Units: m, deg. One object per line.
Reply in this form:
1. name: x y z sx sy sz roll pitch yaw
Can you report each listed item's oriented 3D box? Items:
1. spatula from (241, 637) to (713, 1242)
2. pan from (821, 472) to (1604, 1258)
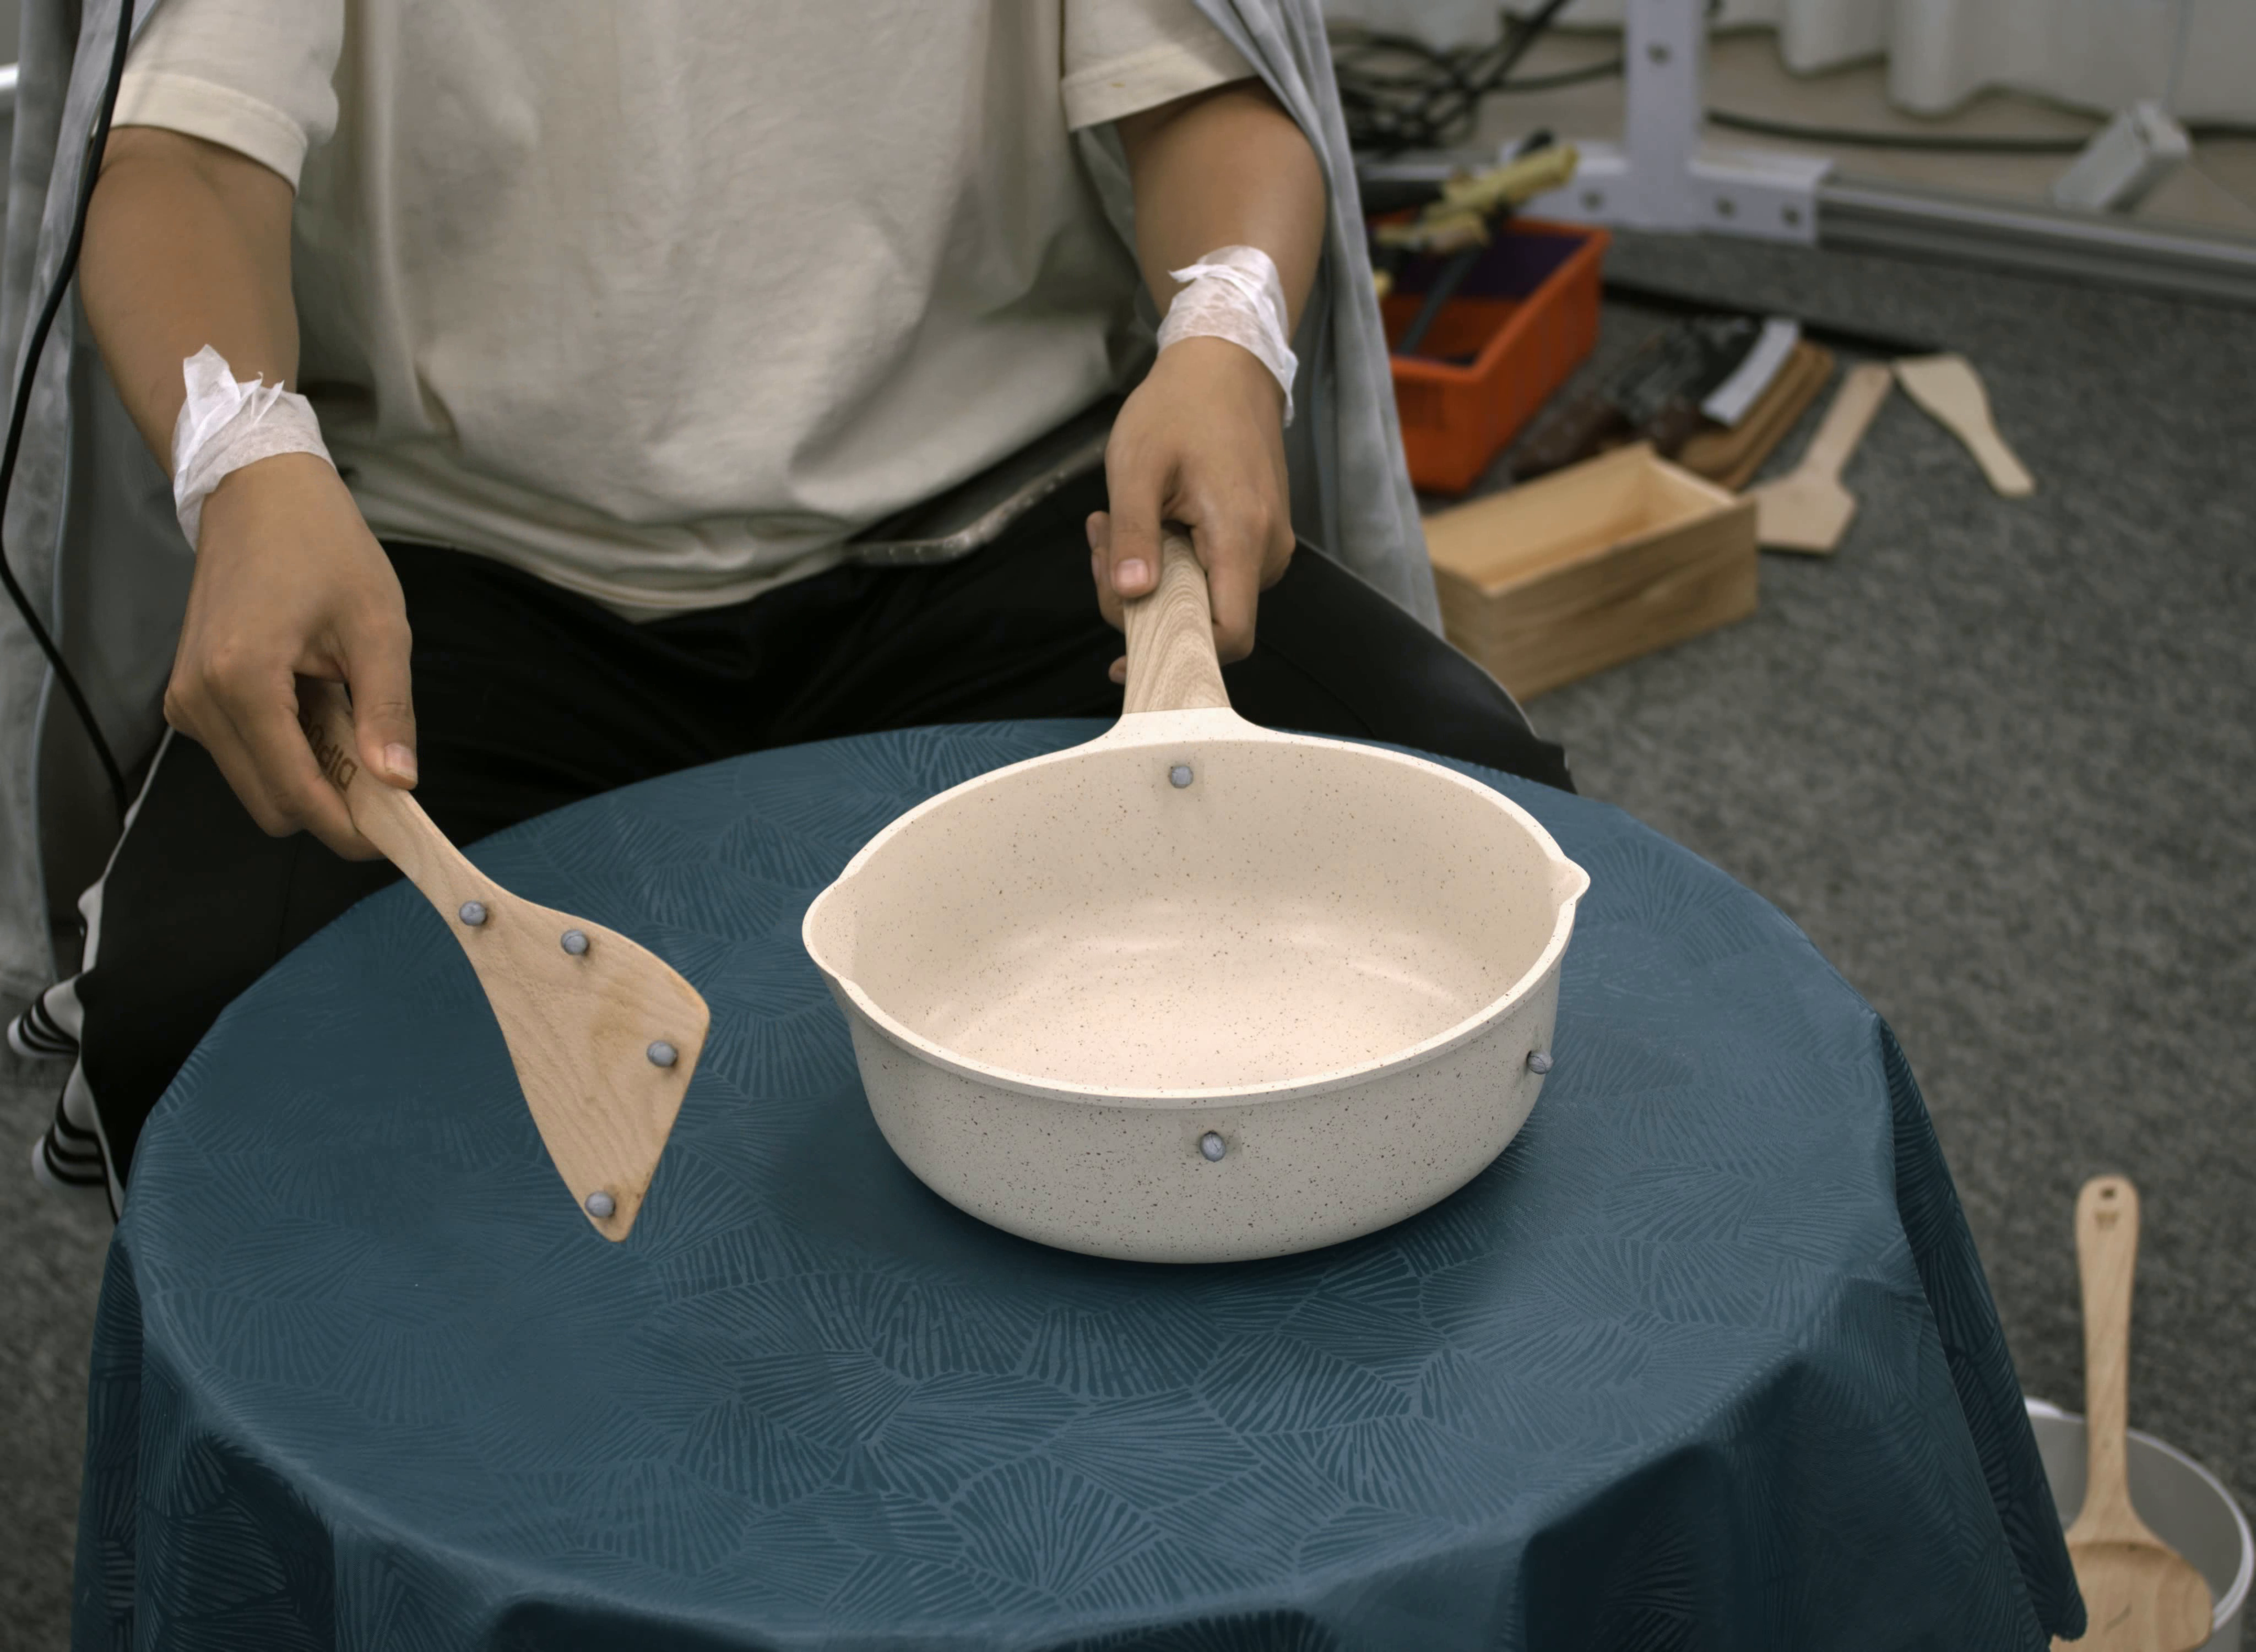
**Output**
1. spatula: -0.217 0.019 1.809 0.016 0.079 0.329 16 18 -42
2. pan: 0.026 0.010 1.965 0.262 0.101 0.441 -5 27 -1
